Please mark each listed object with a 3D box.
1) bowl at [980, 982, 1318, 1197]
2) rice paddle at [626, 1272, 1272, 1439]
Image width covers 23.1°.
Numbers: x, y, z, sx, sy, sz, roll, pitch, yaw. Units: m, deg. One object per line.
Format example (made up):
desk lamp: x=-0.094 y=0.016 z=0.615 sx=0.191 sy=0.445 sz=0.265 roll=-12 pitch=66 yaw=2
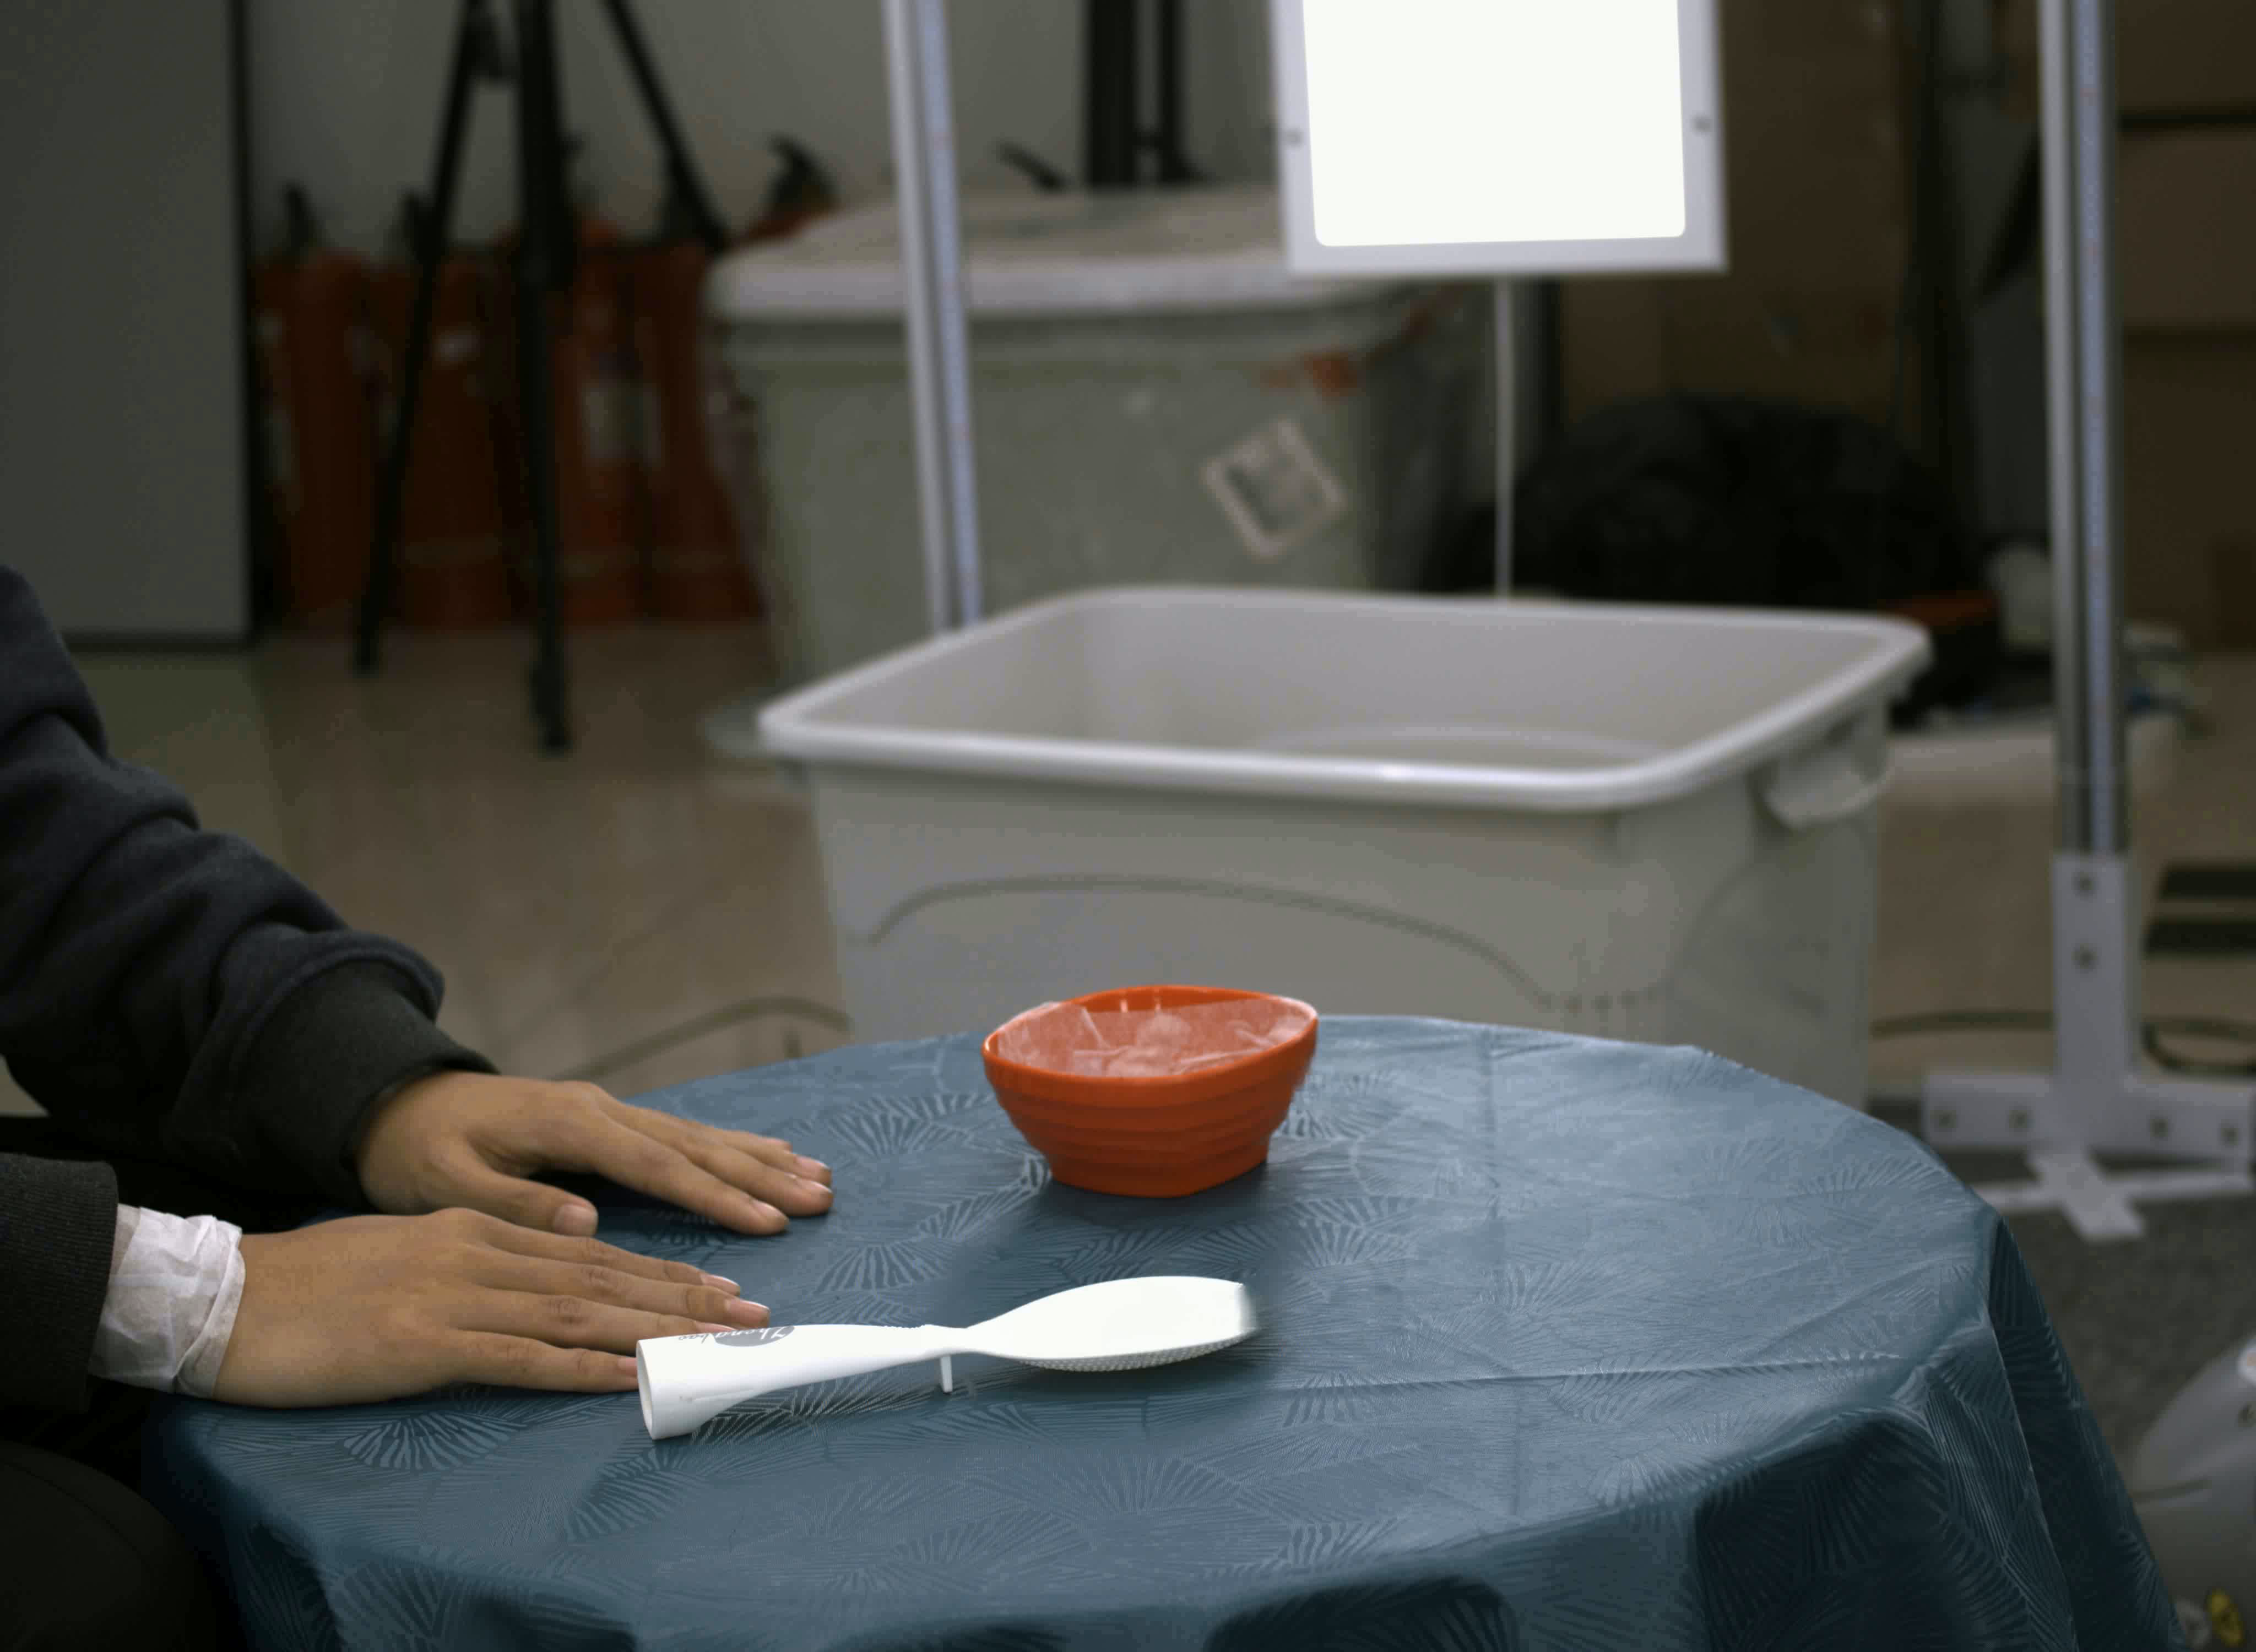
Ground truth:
bowl: x=0.009 y=0.093 z=1.917 sx=0.118 sy=0.051 sz=0.119 roll=-4 pitch=14 yaw=0
rice paddle: x=-0.054 y=0.160 z=1.717 sx=0.203 sy=0.029 sz=0.069 roll=-8 pitch=16 yaw=-11
